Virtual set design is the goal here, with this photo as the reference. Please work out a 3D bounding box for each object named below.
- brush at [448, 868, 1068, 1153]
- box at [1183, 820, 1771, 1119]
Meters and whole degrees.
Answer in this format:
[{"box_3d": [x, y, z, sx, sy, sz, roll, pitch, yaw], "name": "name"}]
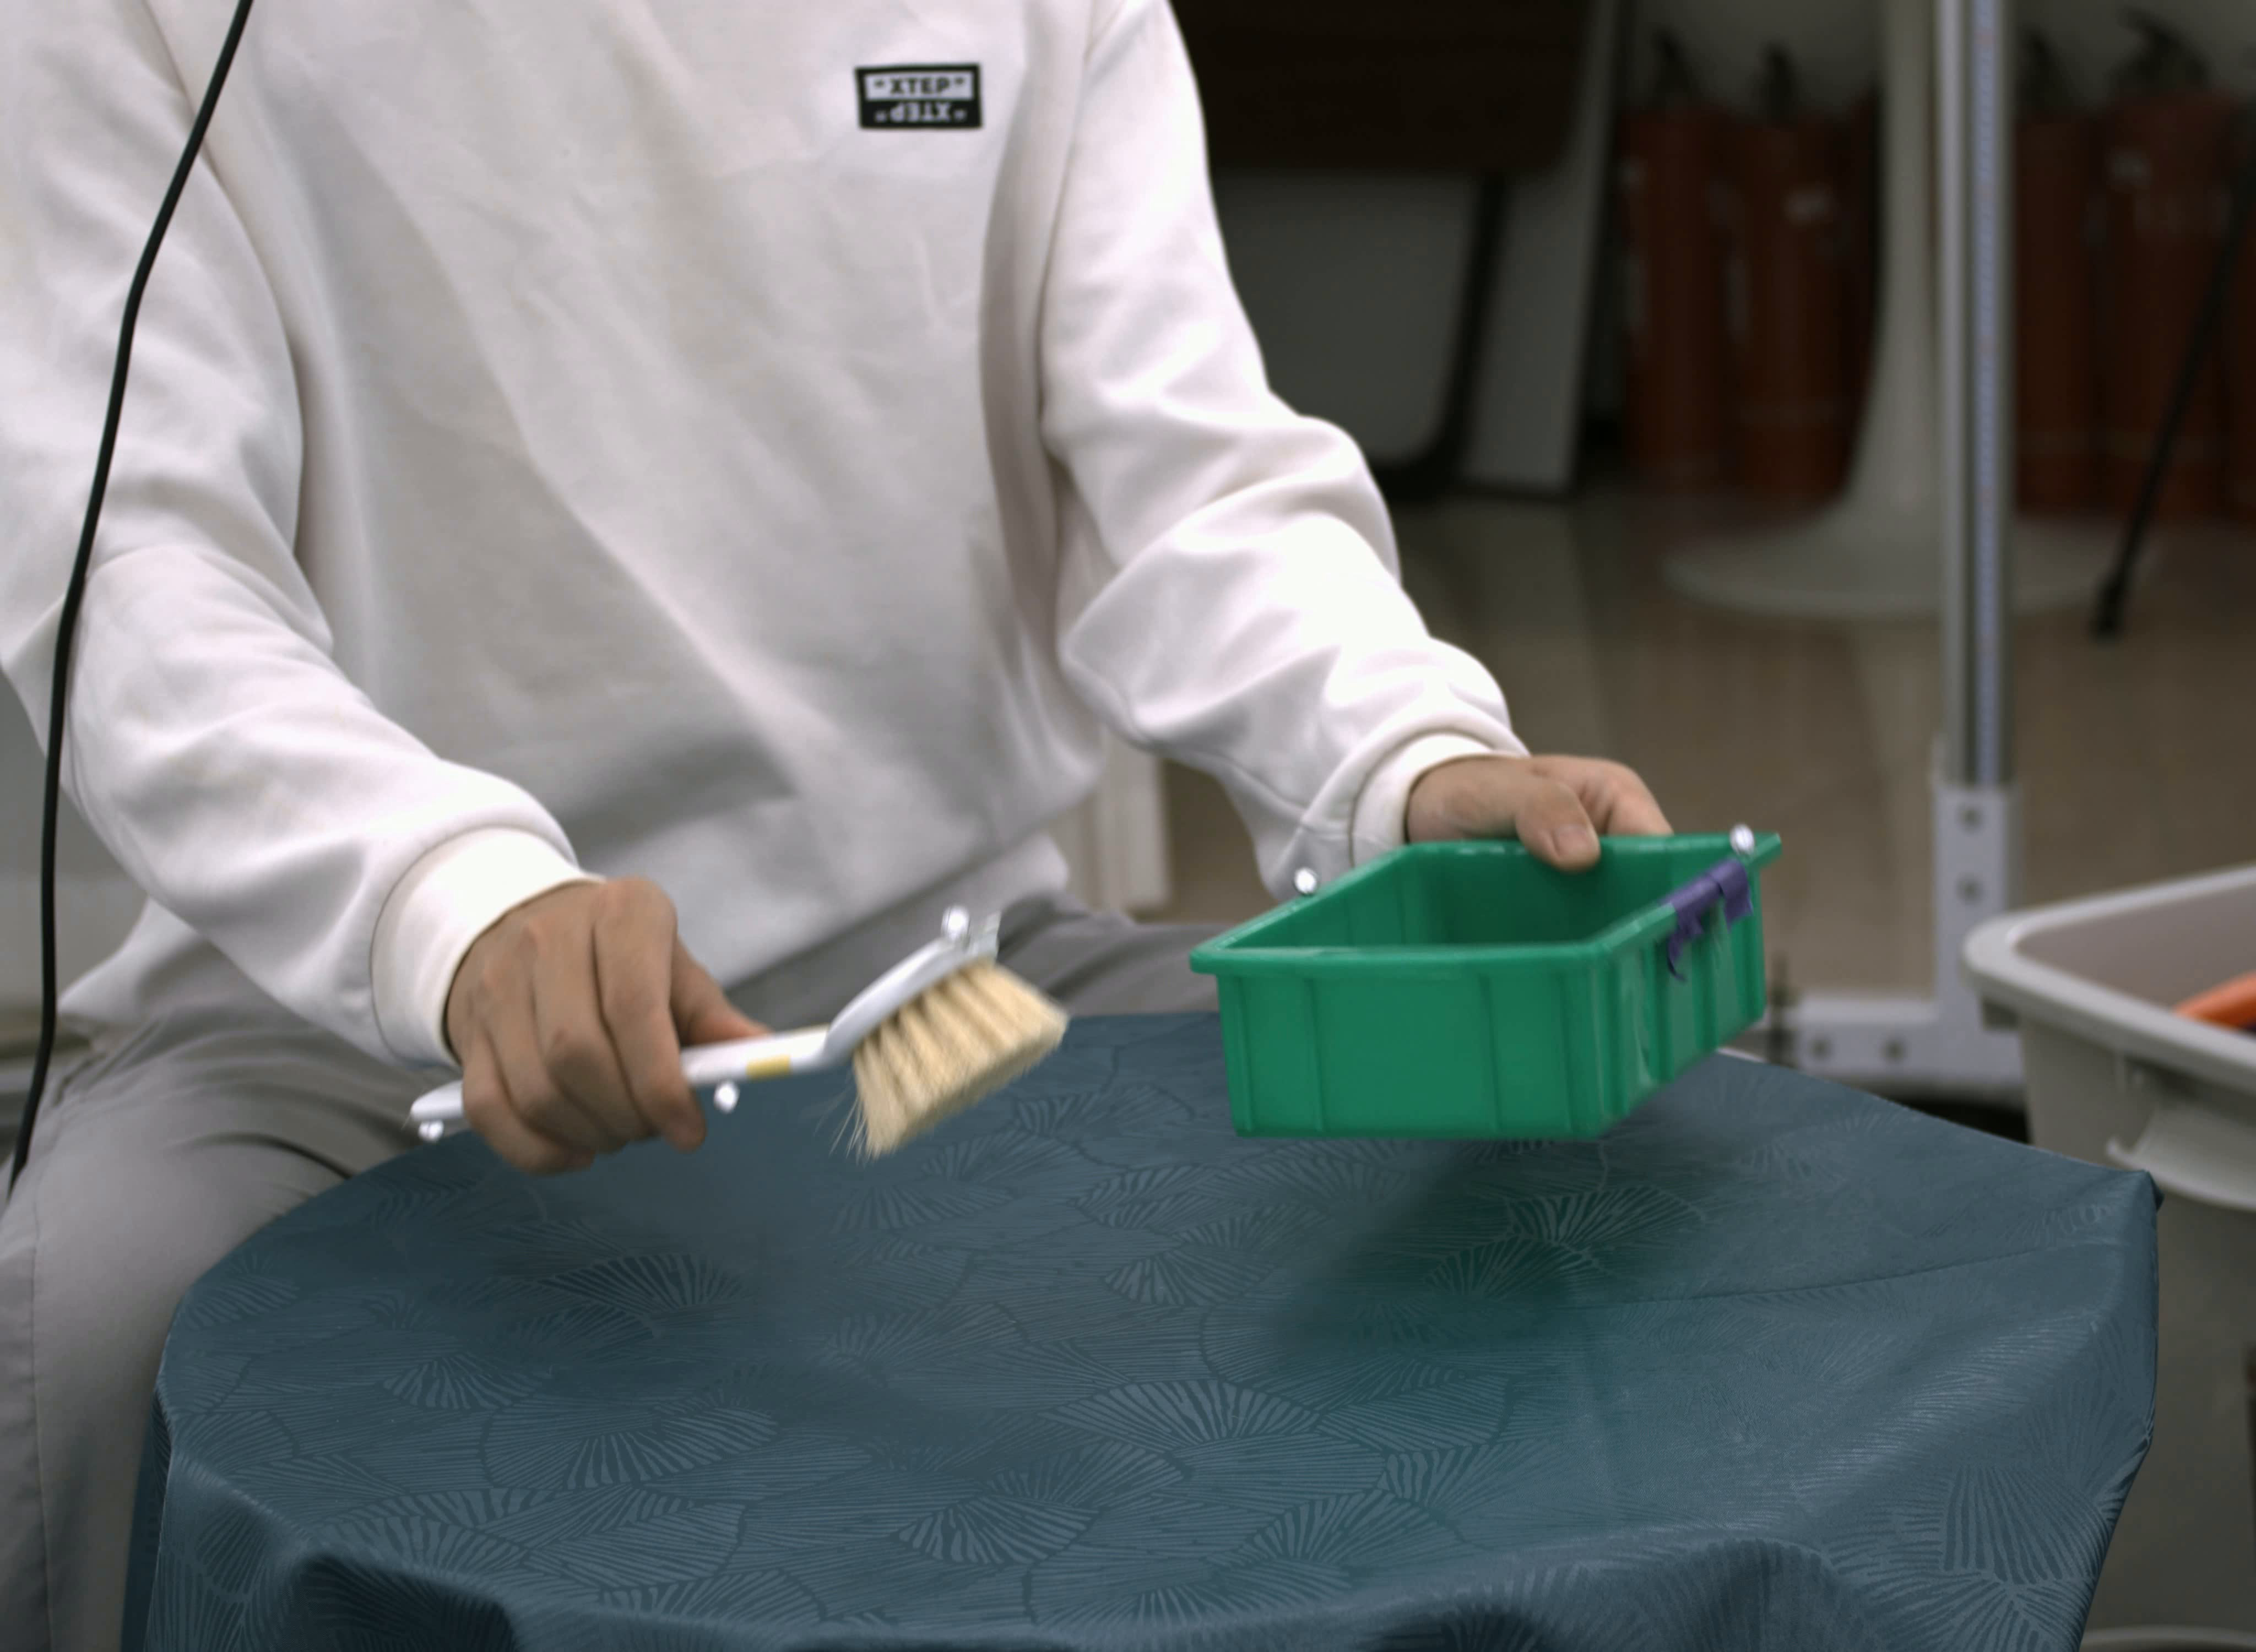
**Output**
[{"box_3d": [-0.118, 0.080, 1.653, 0.067, 0.057, 0.269, -5, -16, -45], "name": "brush"}, {"box_3d": [0.116, 0.045, 1.705, 0.139, 0.066, 0.207, -3, 6, 24], "name": "box"}]
